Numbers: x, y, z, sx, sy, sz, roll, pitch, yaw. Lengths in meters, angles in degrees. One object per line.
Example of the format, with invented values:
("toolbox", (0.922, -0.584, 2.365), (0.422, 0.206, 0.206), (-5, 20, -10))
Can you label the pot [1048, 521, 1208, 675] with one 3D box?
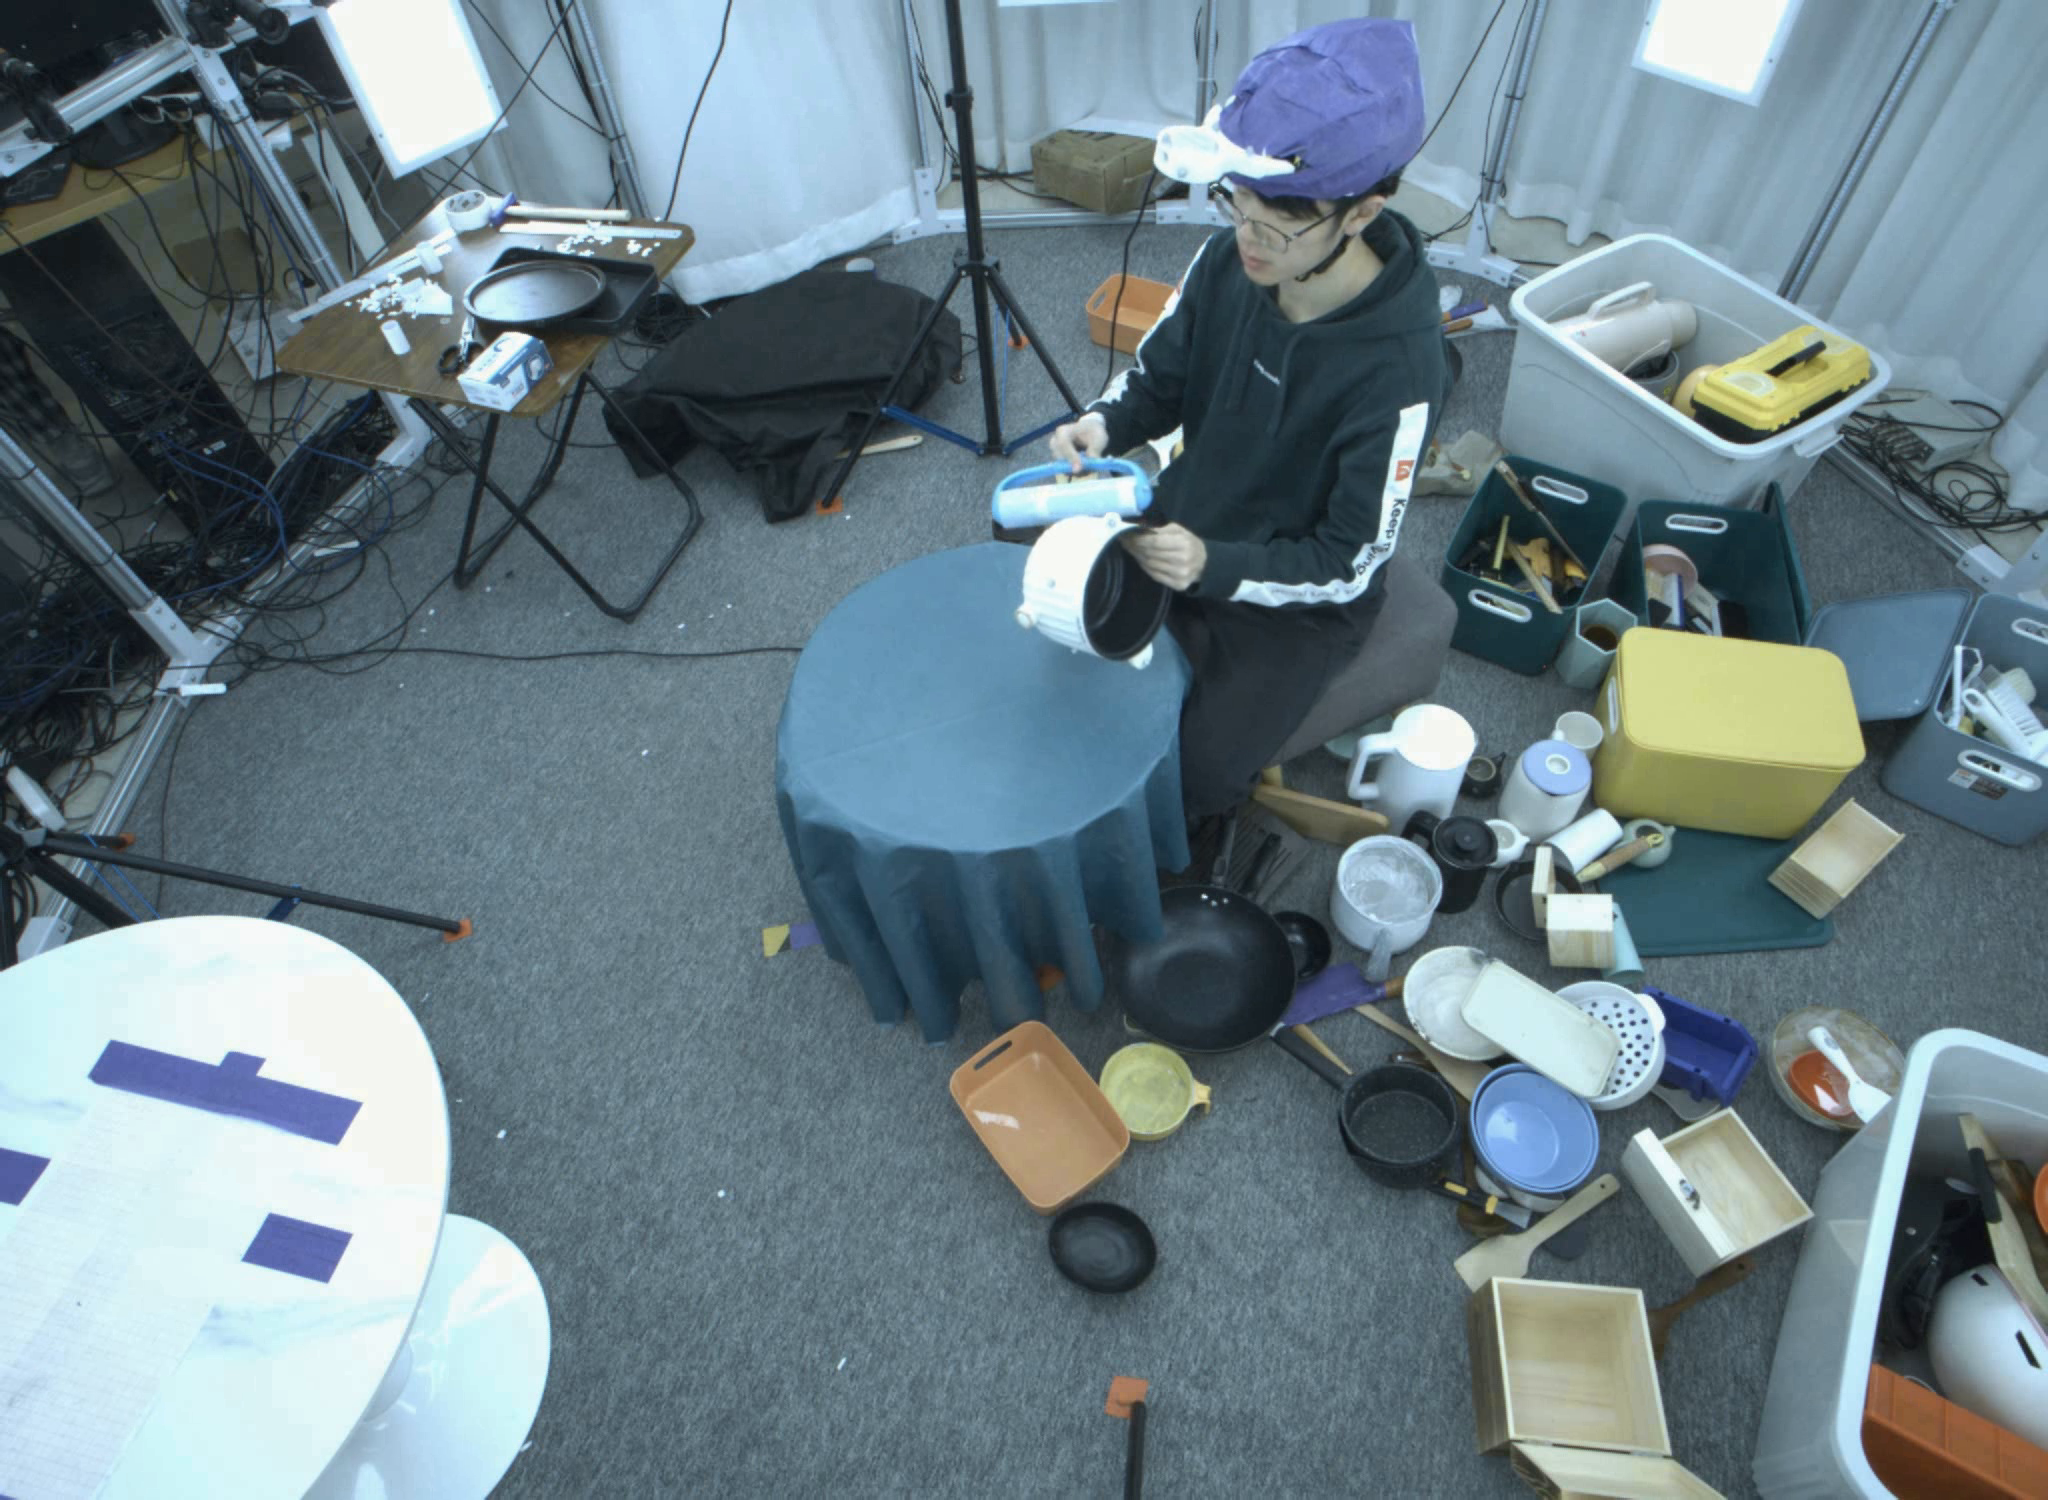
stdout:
("pot", (0.133, -0.209, 1.644), (0.139, 0.244, 0.192), (20, 53, 39))

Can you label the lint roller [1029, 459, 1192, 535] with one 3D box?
("lint roller", (0.125, -0.371, 1.708), (0.226, 0.069, 0.179), (-4, 43, 16))
